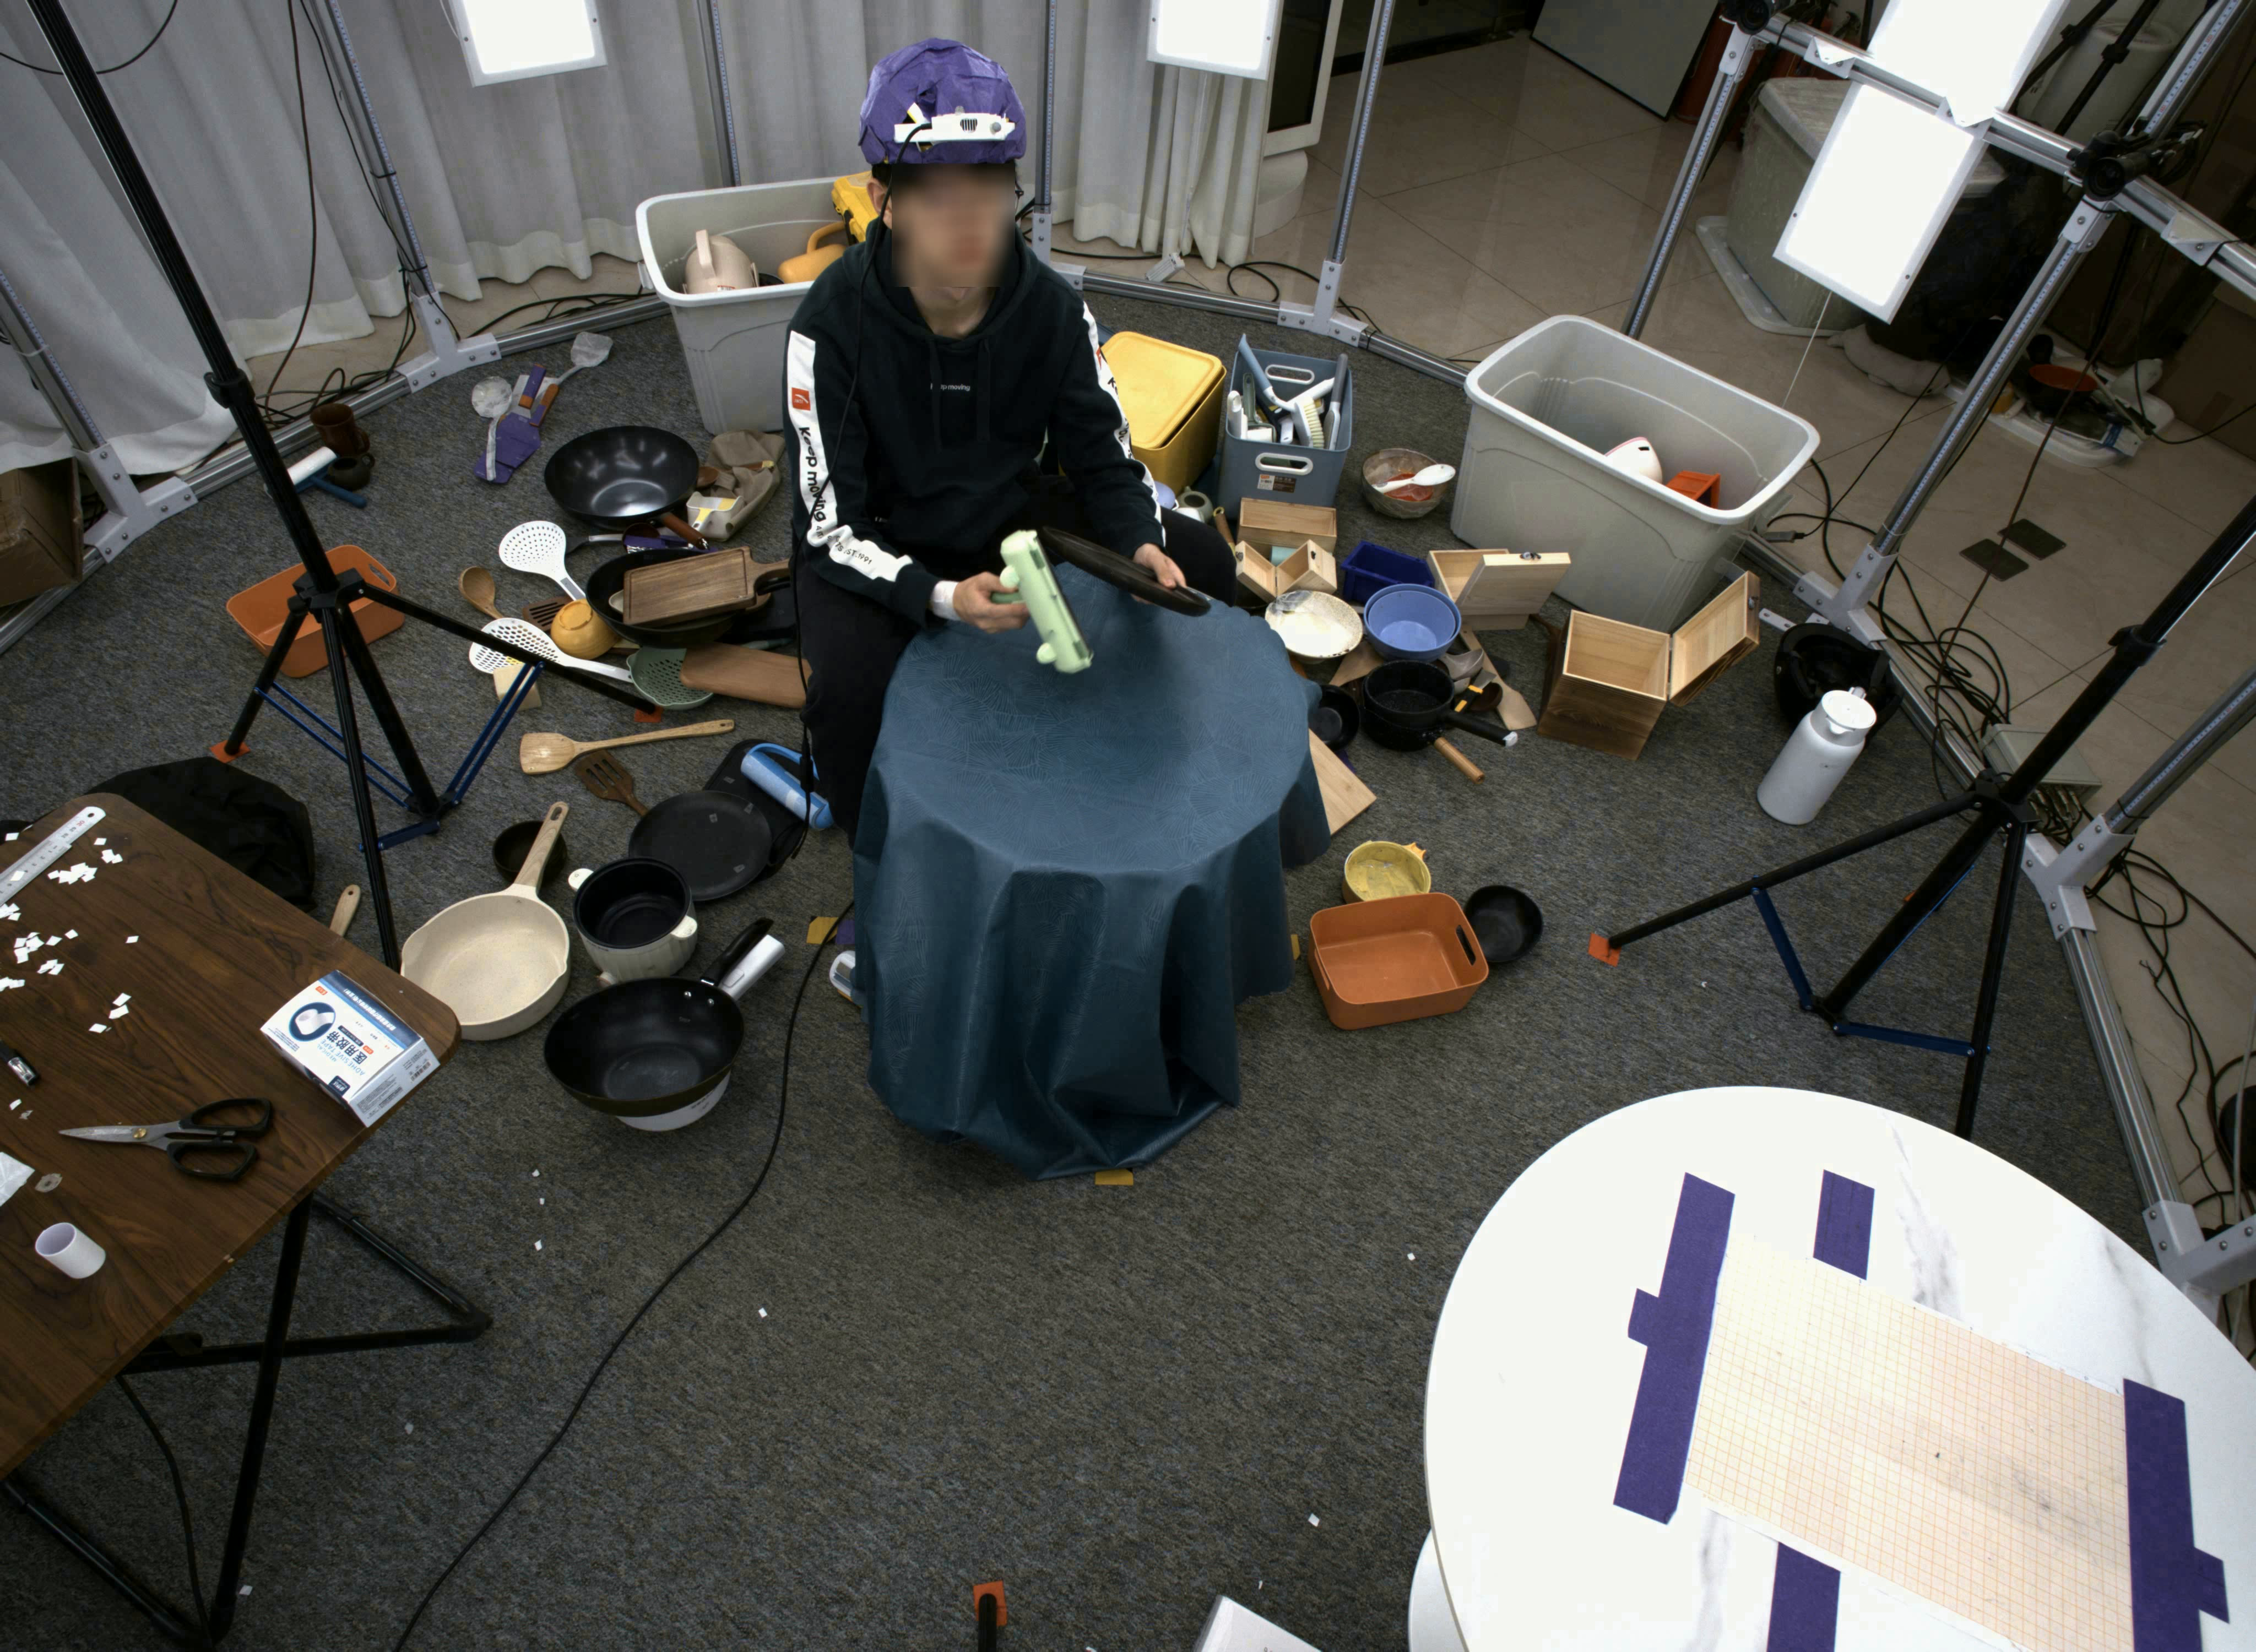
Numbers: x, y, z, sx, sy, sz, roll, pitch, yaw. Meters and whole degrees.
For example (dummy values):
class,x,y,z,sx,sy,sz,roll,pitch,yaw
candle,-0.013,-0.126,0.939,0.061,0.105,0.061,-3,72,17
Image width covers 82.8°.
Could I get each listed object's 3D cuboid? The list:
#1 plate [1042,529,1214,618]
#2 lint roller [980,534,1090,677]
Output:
class,x,y,z,sx,sy,sz,roll,pitch,yaw
plate,-0.001,-0.342,1.749,0.254,0.029,0.258,22,17,-7
lint roller,-0.154,-0.289,1.736,0.184,0.195,0.083,2,37,43
